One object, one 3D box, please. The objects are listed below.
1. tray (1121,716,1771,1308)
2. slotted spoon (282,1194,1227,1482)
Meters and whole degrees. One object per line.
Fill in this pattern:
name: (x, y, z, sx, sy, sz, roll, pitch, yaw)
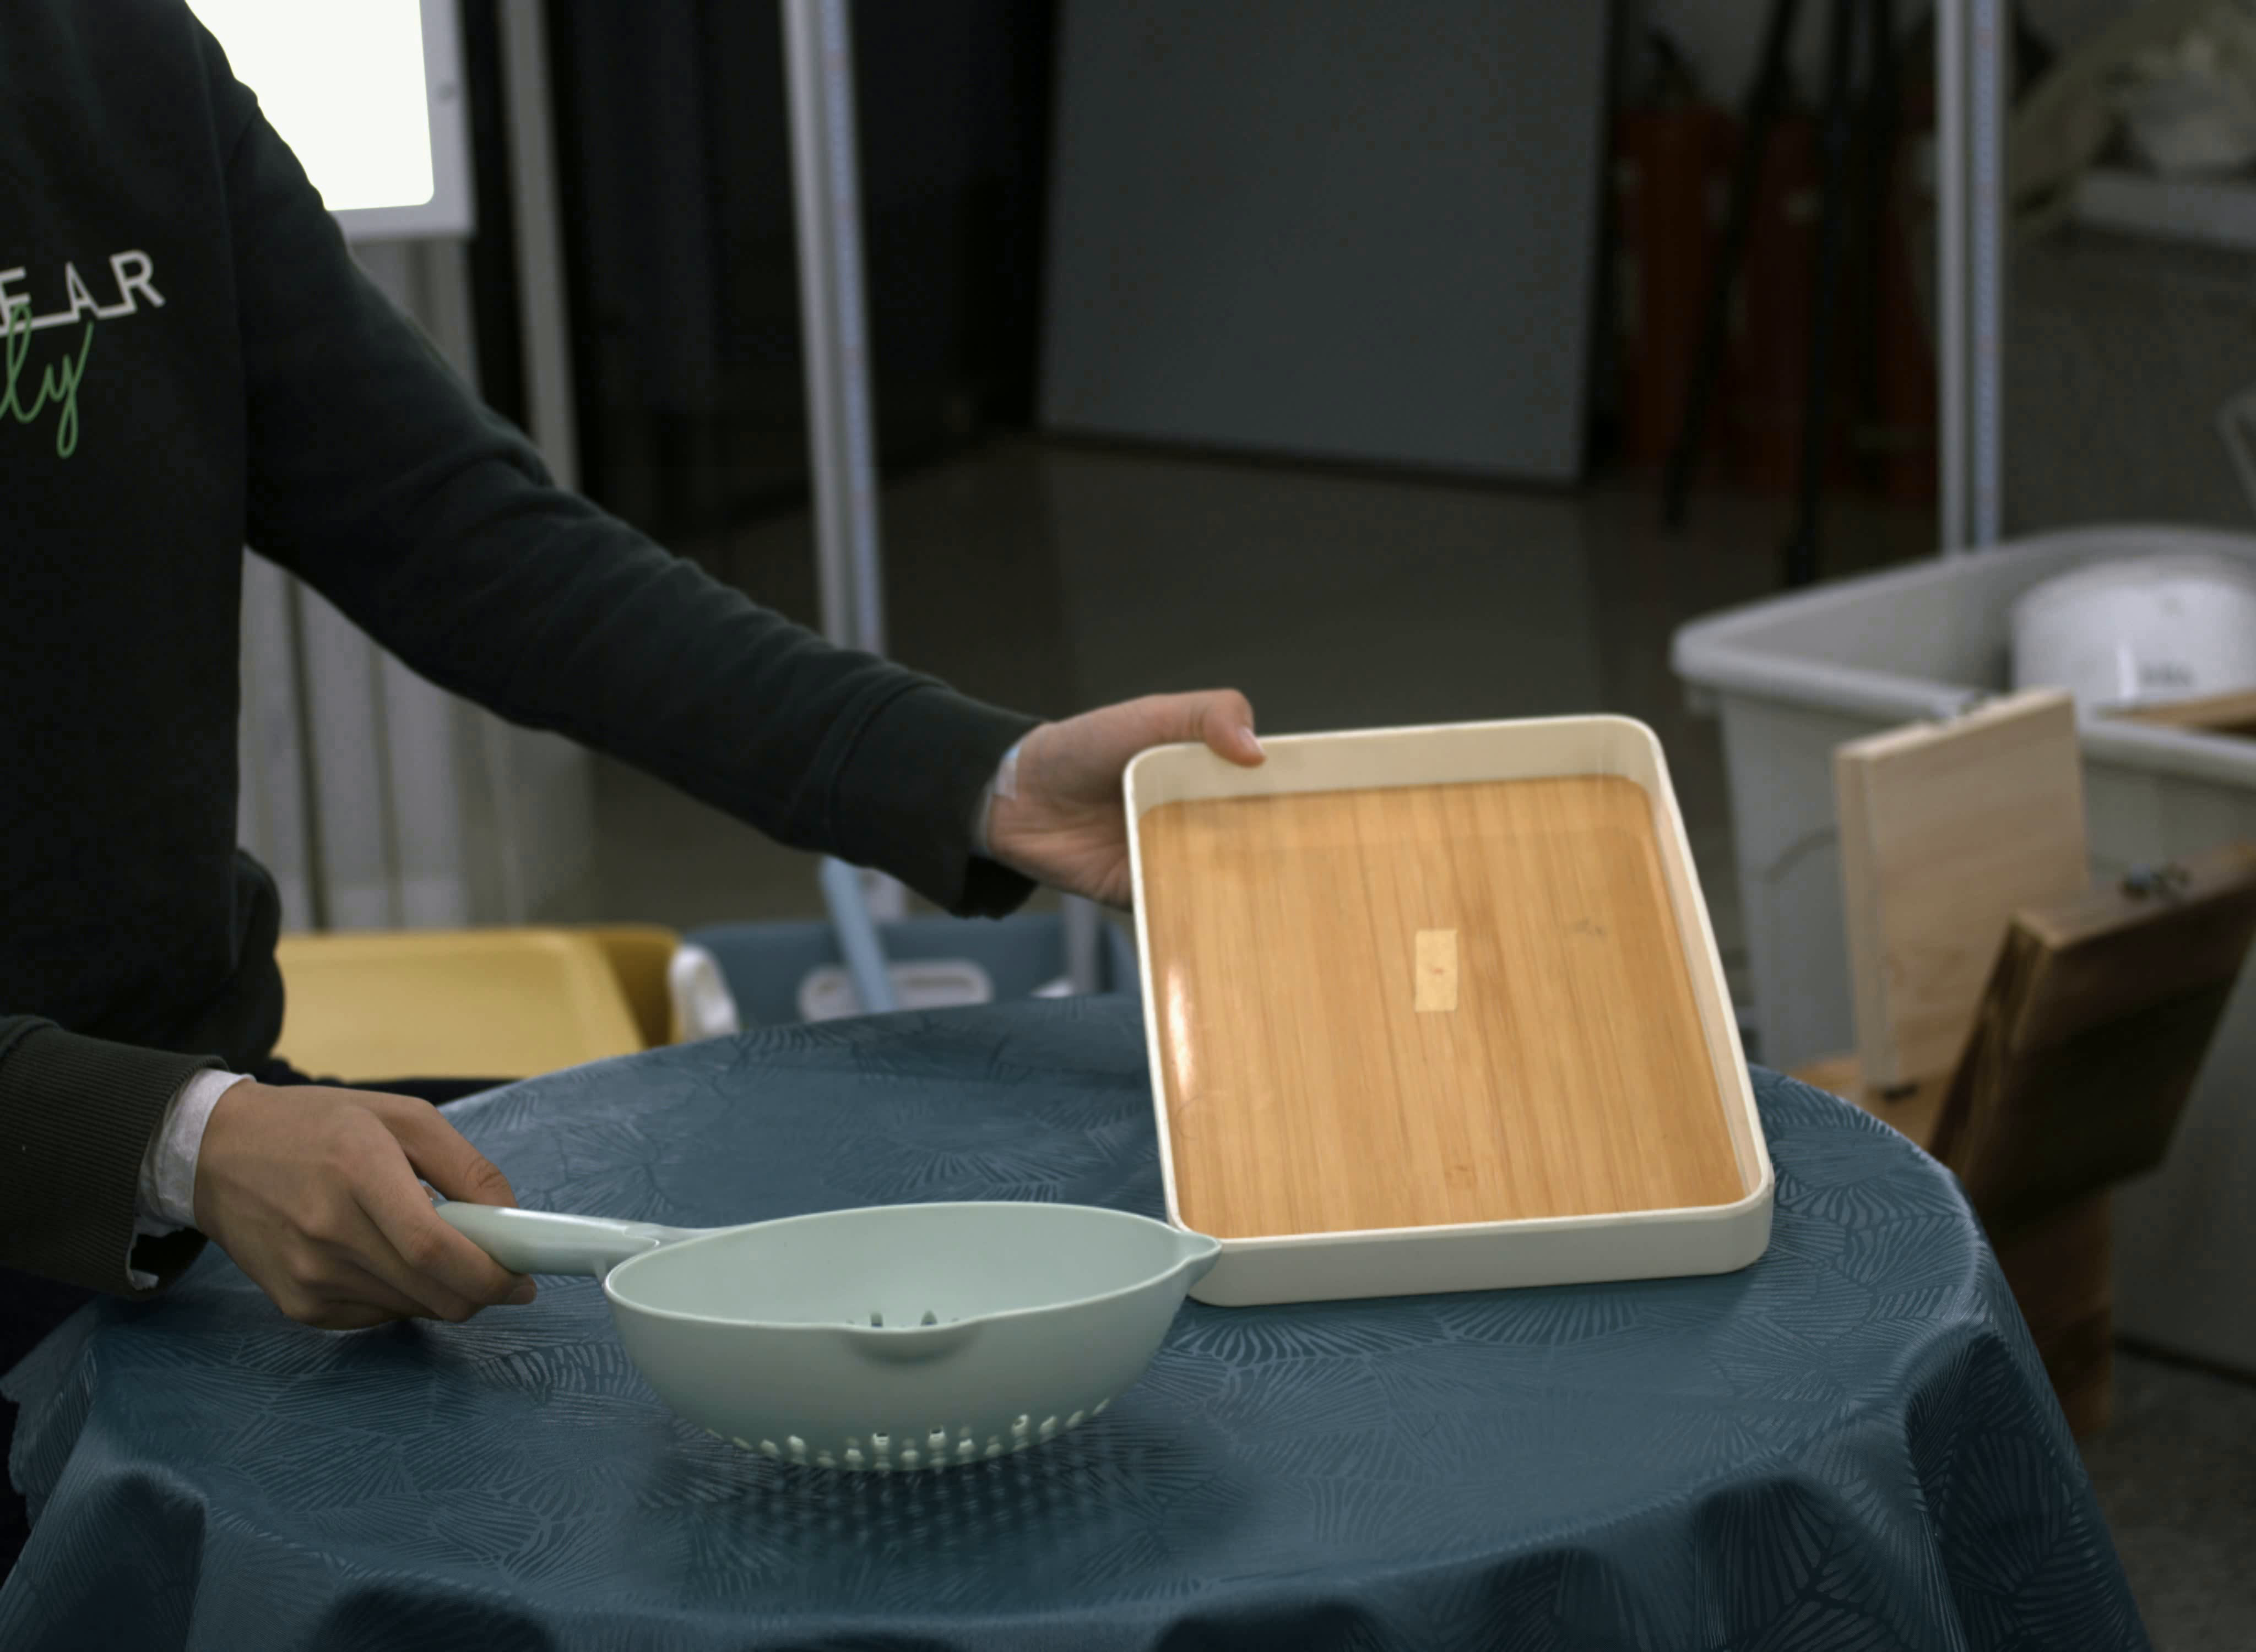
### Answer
tray: (0.098, 0.055, 1.772, 0.189, 0.027, 0.302, -4, 31, 0)
slotted spoon: (-0.134, 0.134, 1.598, 0.362, 0.076, 0.166, 13, 15, 42)
